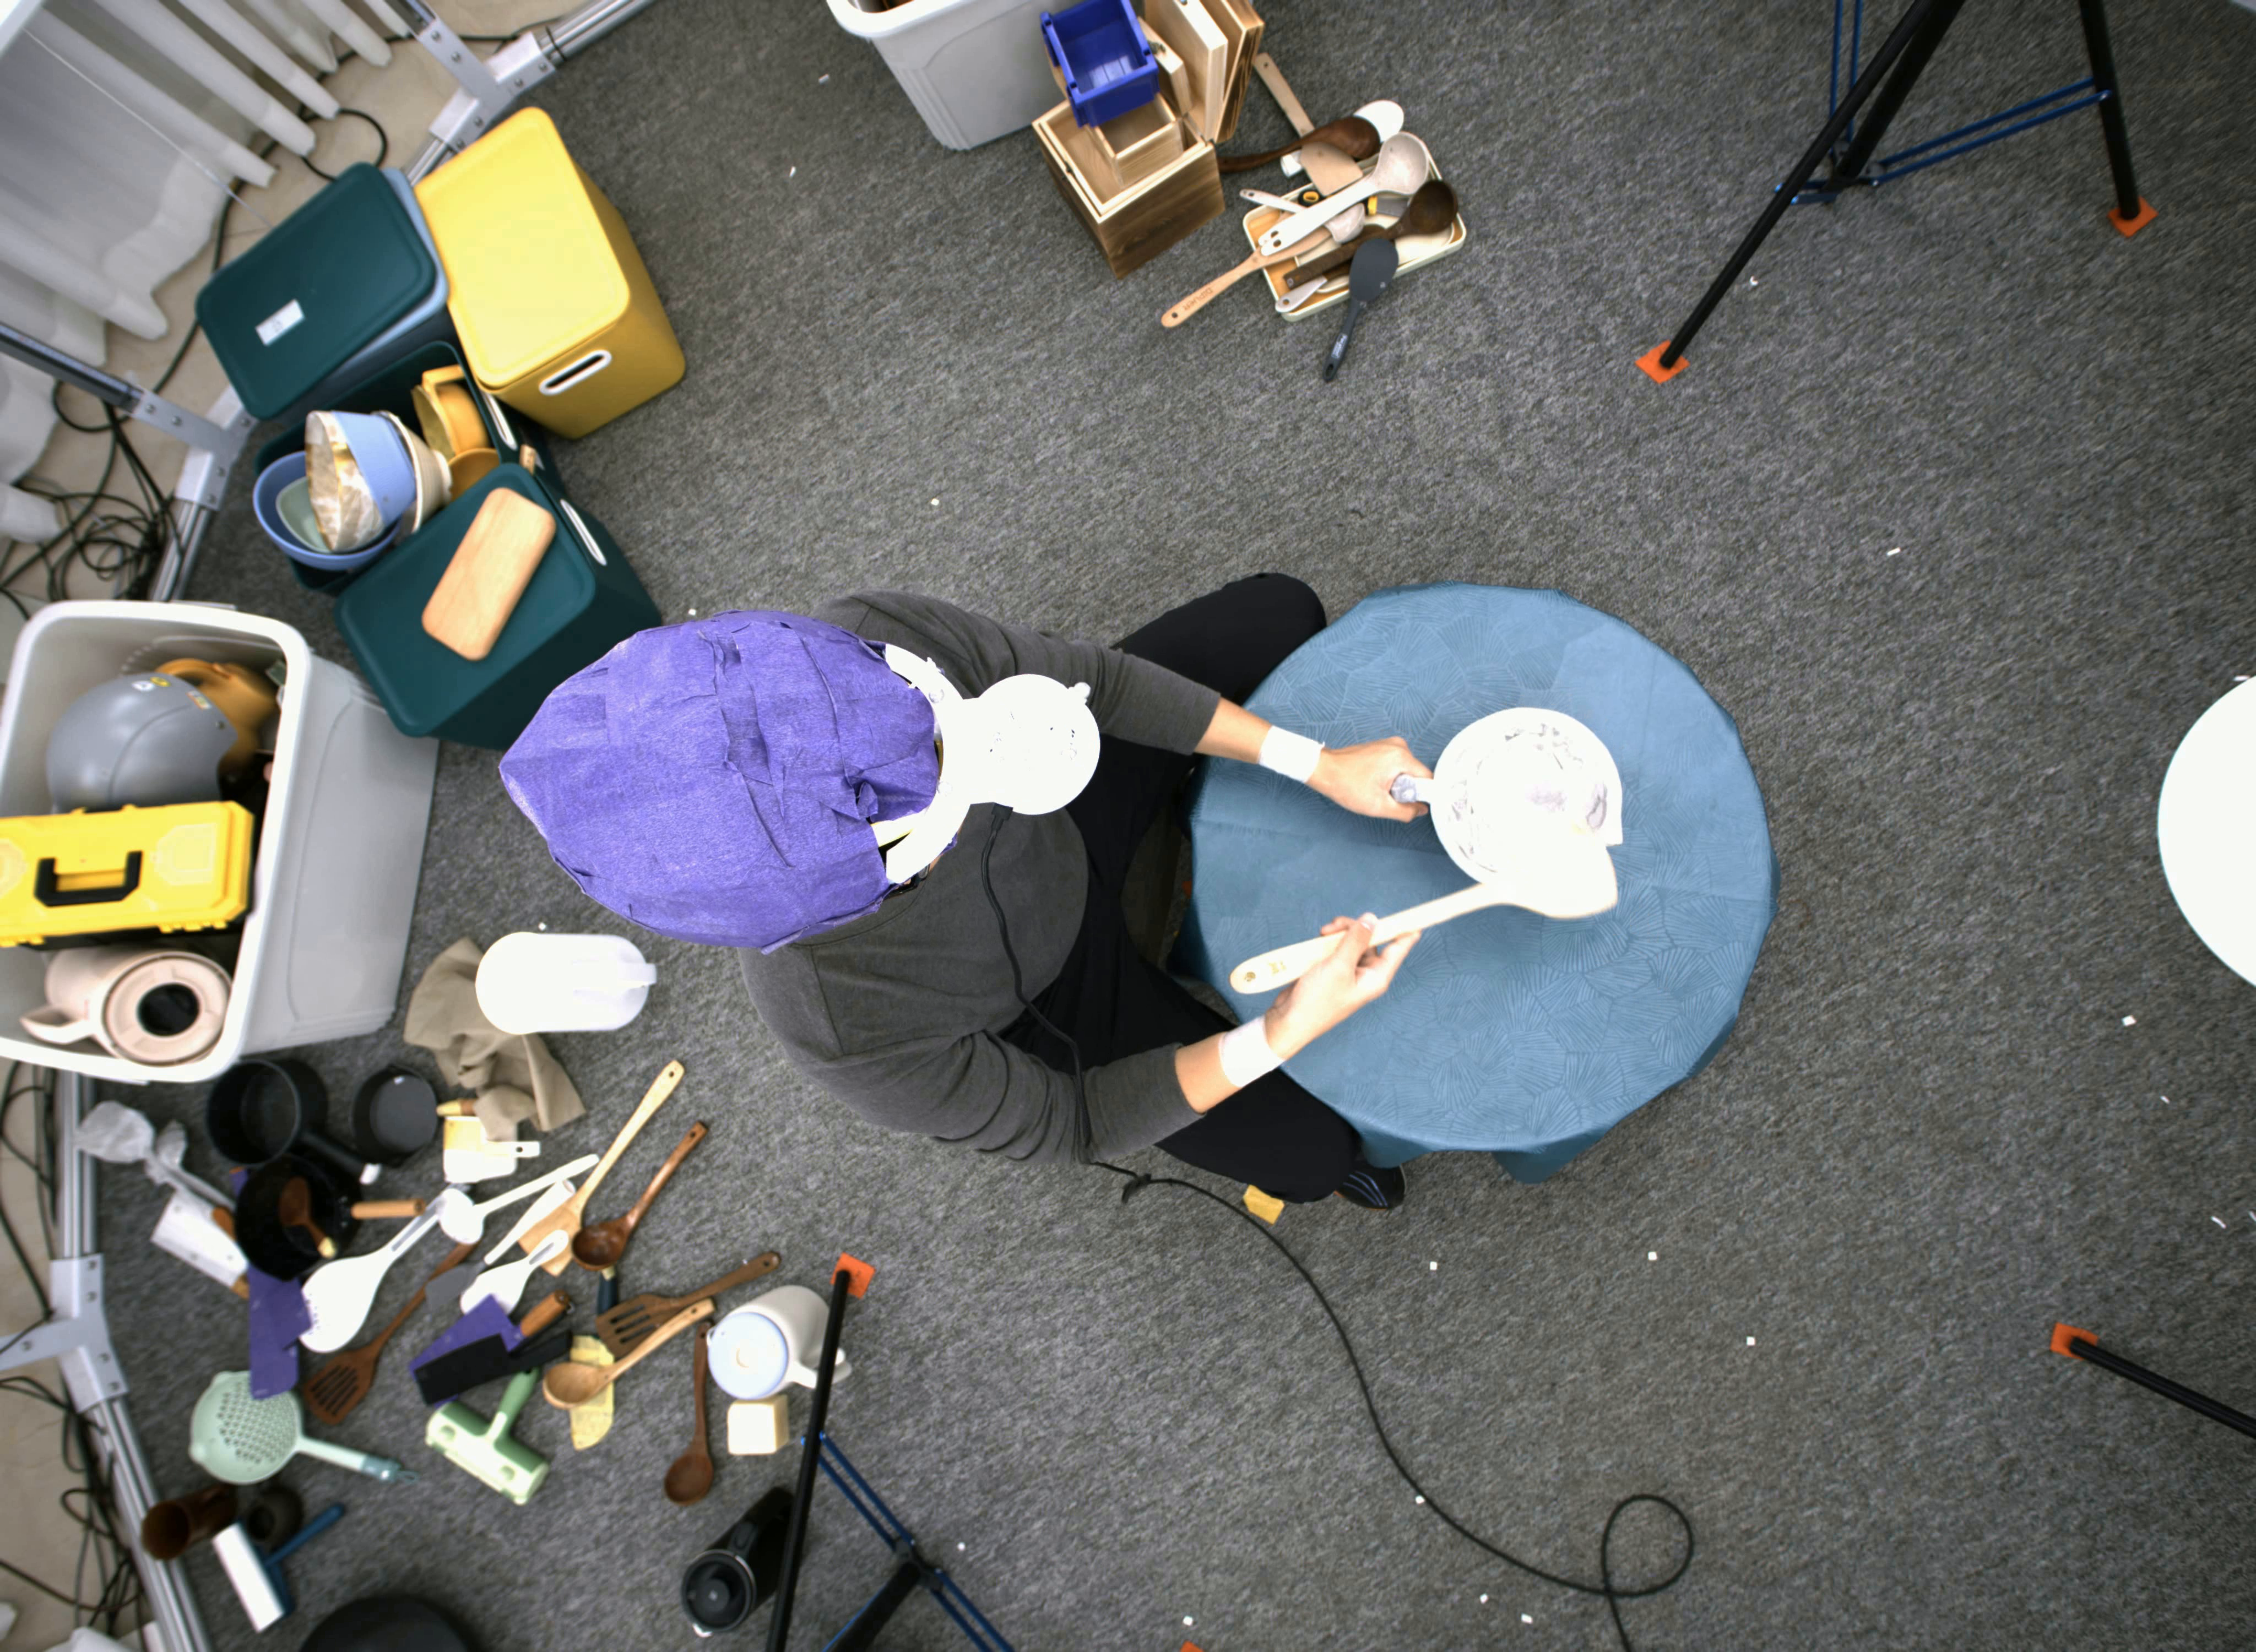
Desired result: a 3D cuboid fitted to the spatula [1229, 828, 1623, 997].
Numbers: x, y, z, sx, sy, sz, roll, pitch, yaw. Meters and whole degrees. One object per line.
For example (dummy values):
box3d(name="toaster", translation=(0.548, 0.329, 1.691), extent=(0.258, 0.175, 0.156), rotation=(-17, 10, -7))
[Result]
box3d(name="spatula", translation=(0.272, 0.089, 1.237), extent=(0.388, 0.019, 0.095), rotation=(-16, 79, -14))

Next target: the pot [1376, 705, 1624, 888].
box3d(name="pot", translation=(0.364, -0.033, 1.370), extent=(0.234, 0.136, 0.179), rotation=(5, 95, 11))
